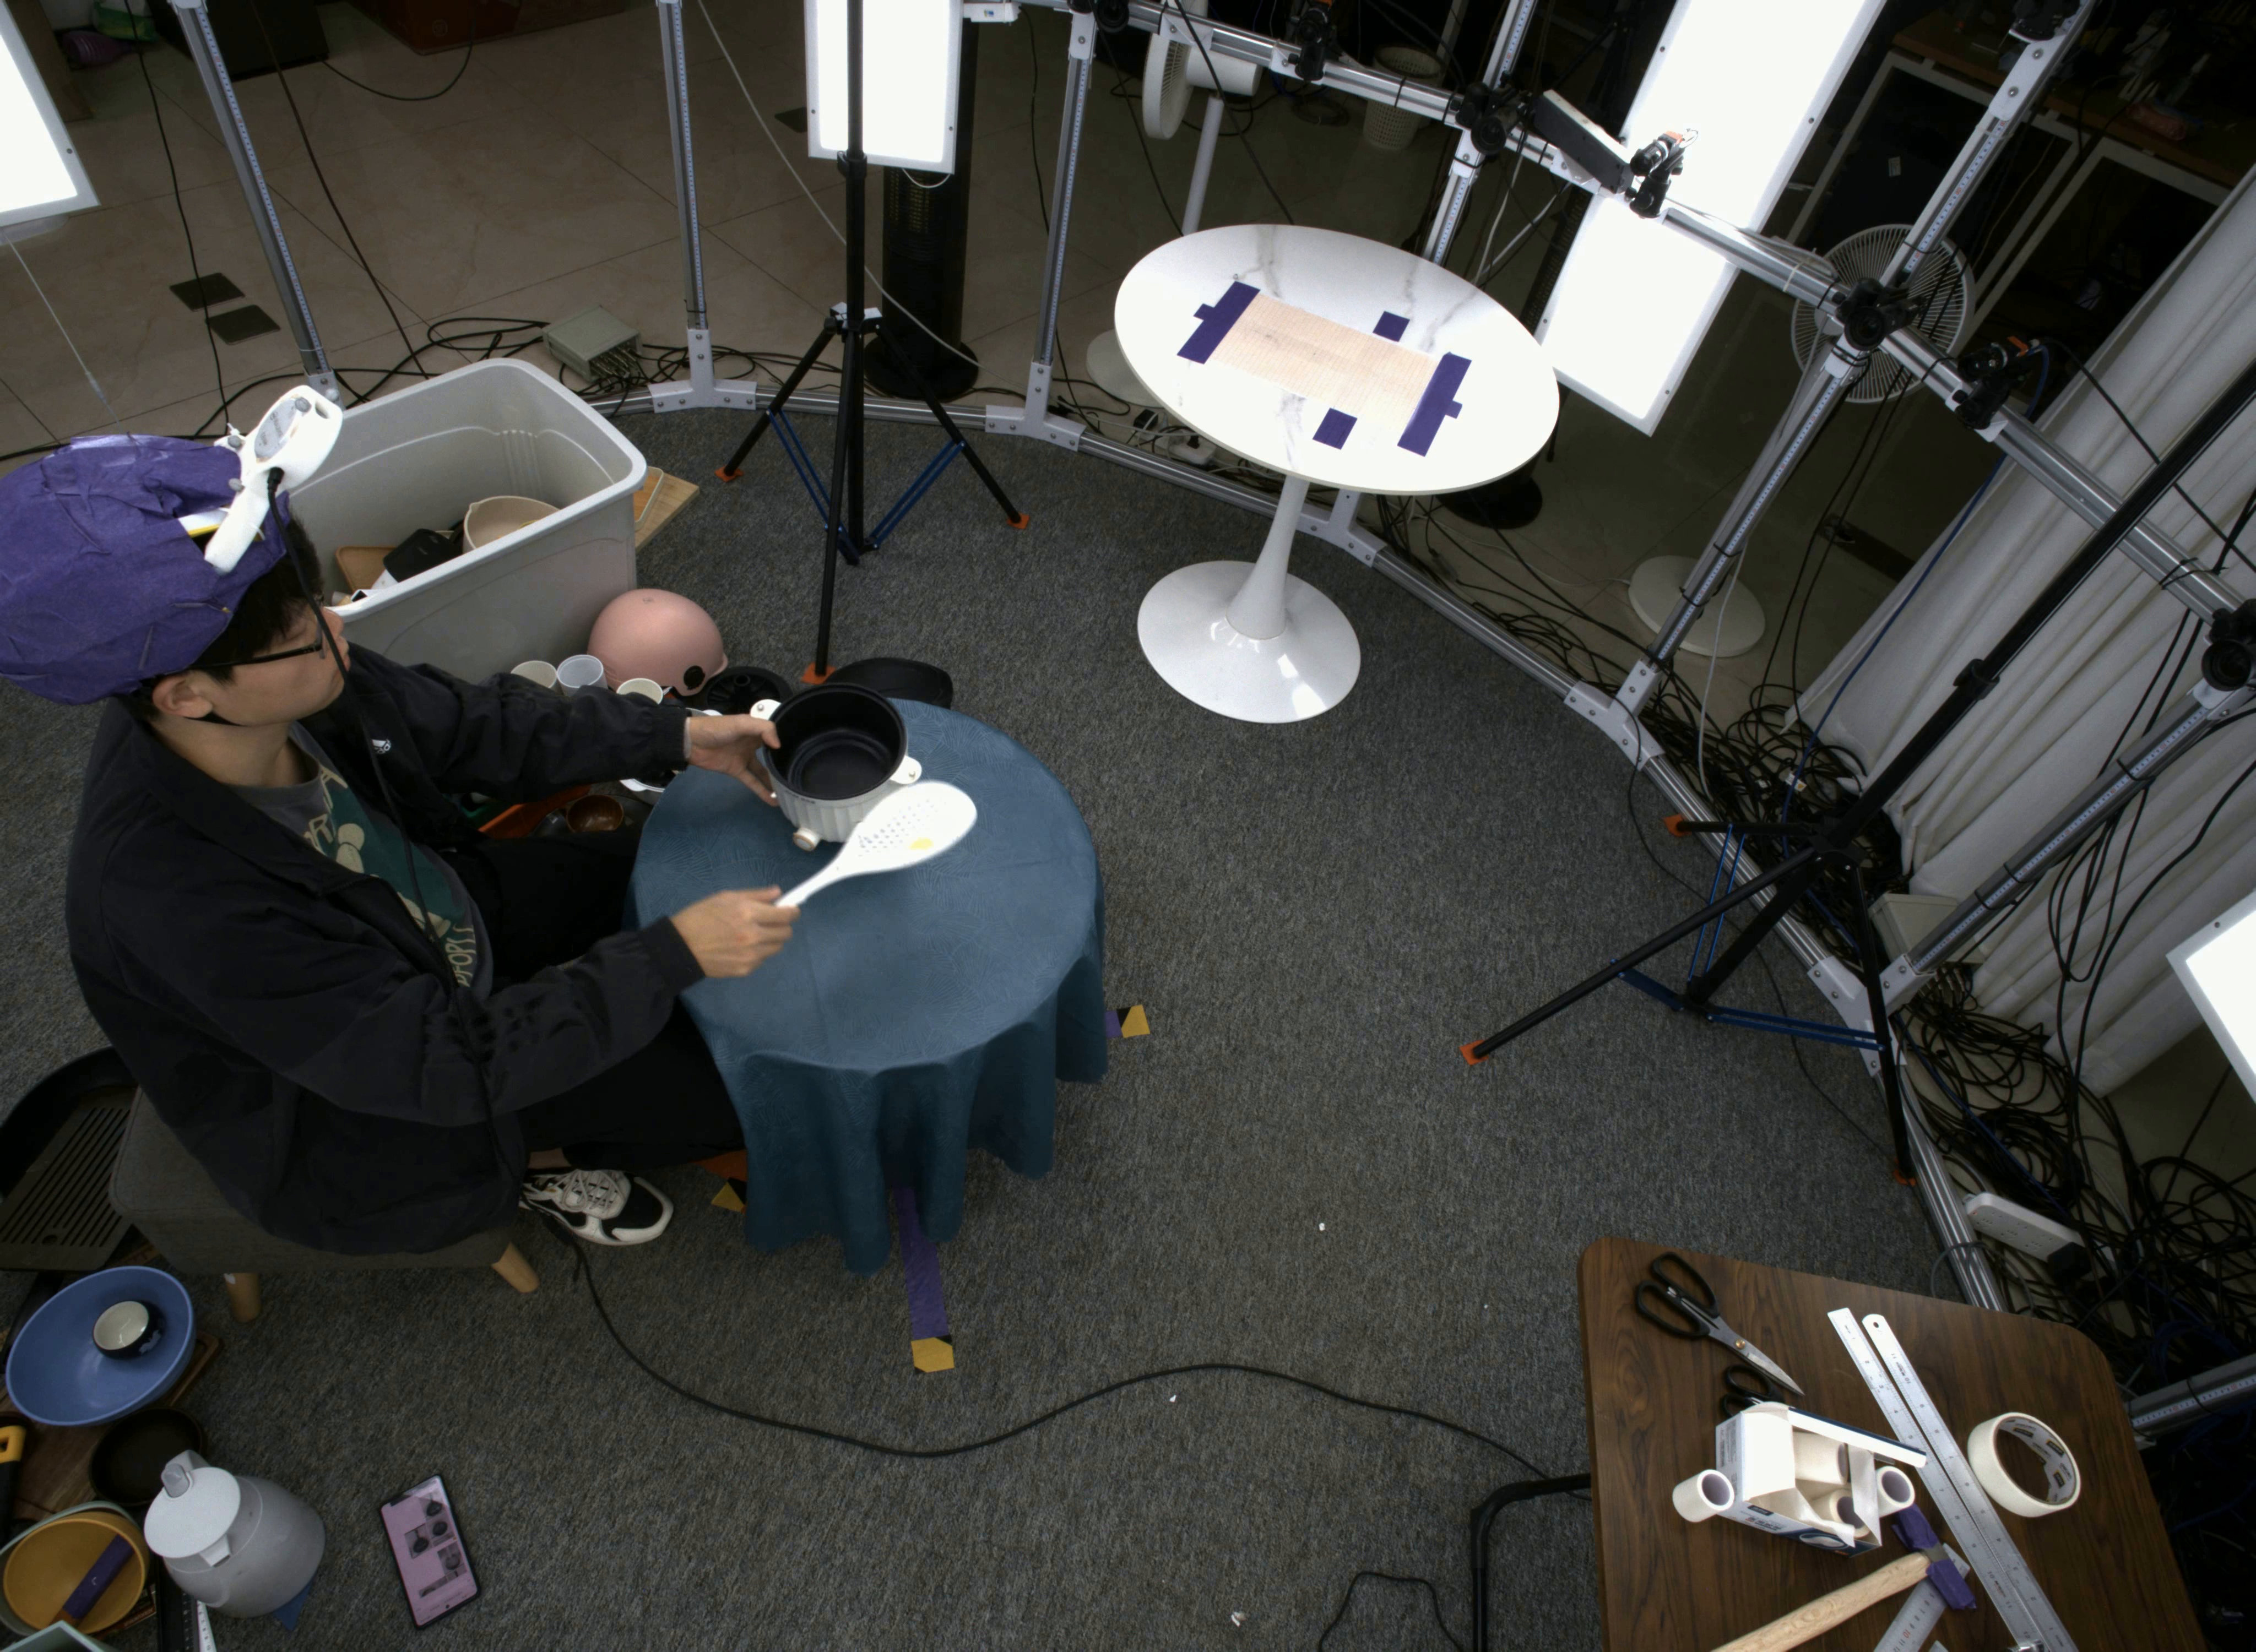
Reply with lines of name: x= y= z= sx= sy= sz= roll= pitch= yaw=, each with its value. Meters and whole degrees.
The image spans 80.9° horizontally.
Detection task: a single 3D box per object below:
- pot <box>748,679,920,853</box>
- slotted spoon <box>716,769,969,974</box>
pot: x=-0.378 y=-0.071 z=1.684 sx=0.236 sy=0.146 sz=0.189 roll=21 pitch=56 yaw=7
slotted spoon: x=-0.330 y=0.049 z=1.482 sx=0.348 sy=0.052 sz=0.131 roll=-34 pitch=45 yaw=-26
